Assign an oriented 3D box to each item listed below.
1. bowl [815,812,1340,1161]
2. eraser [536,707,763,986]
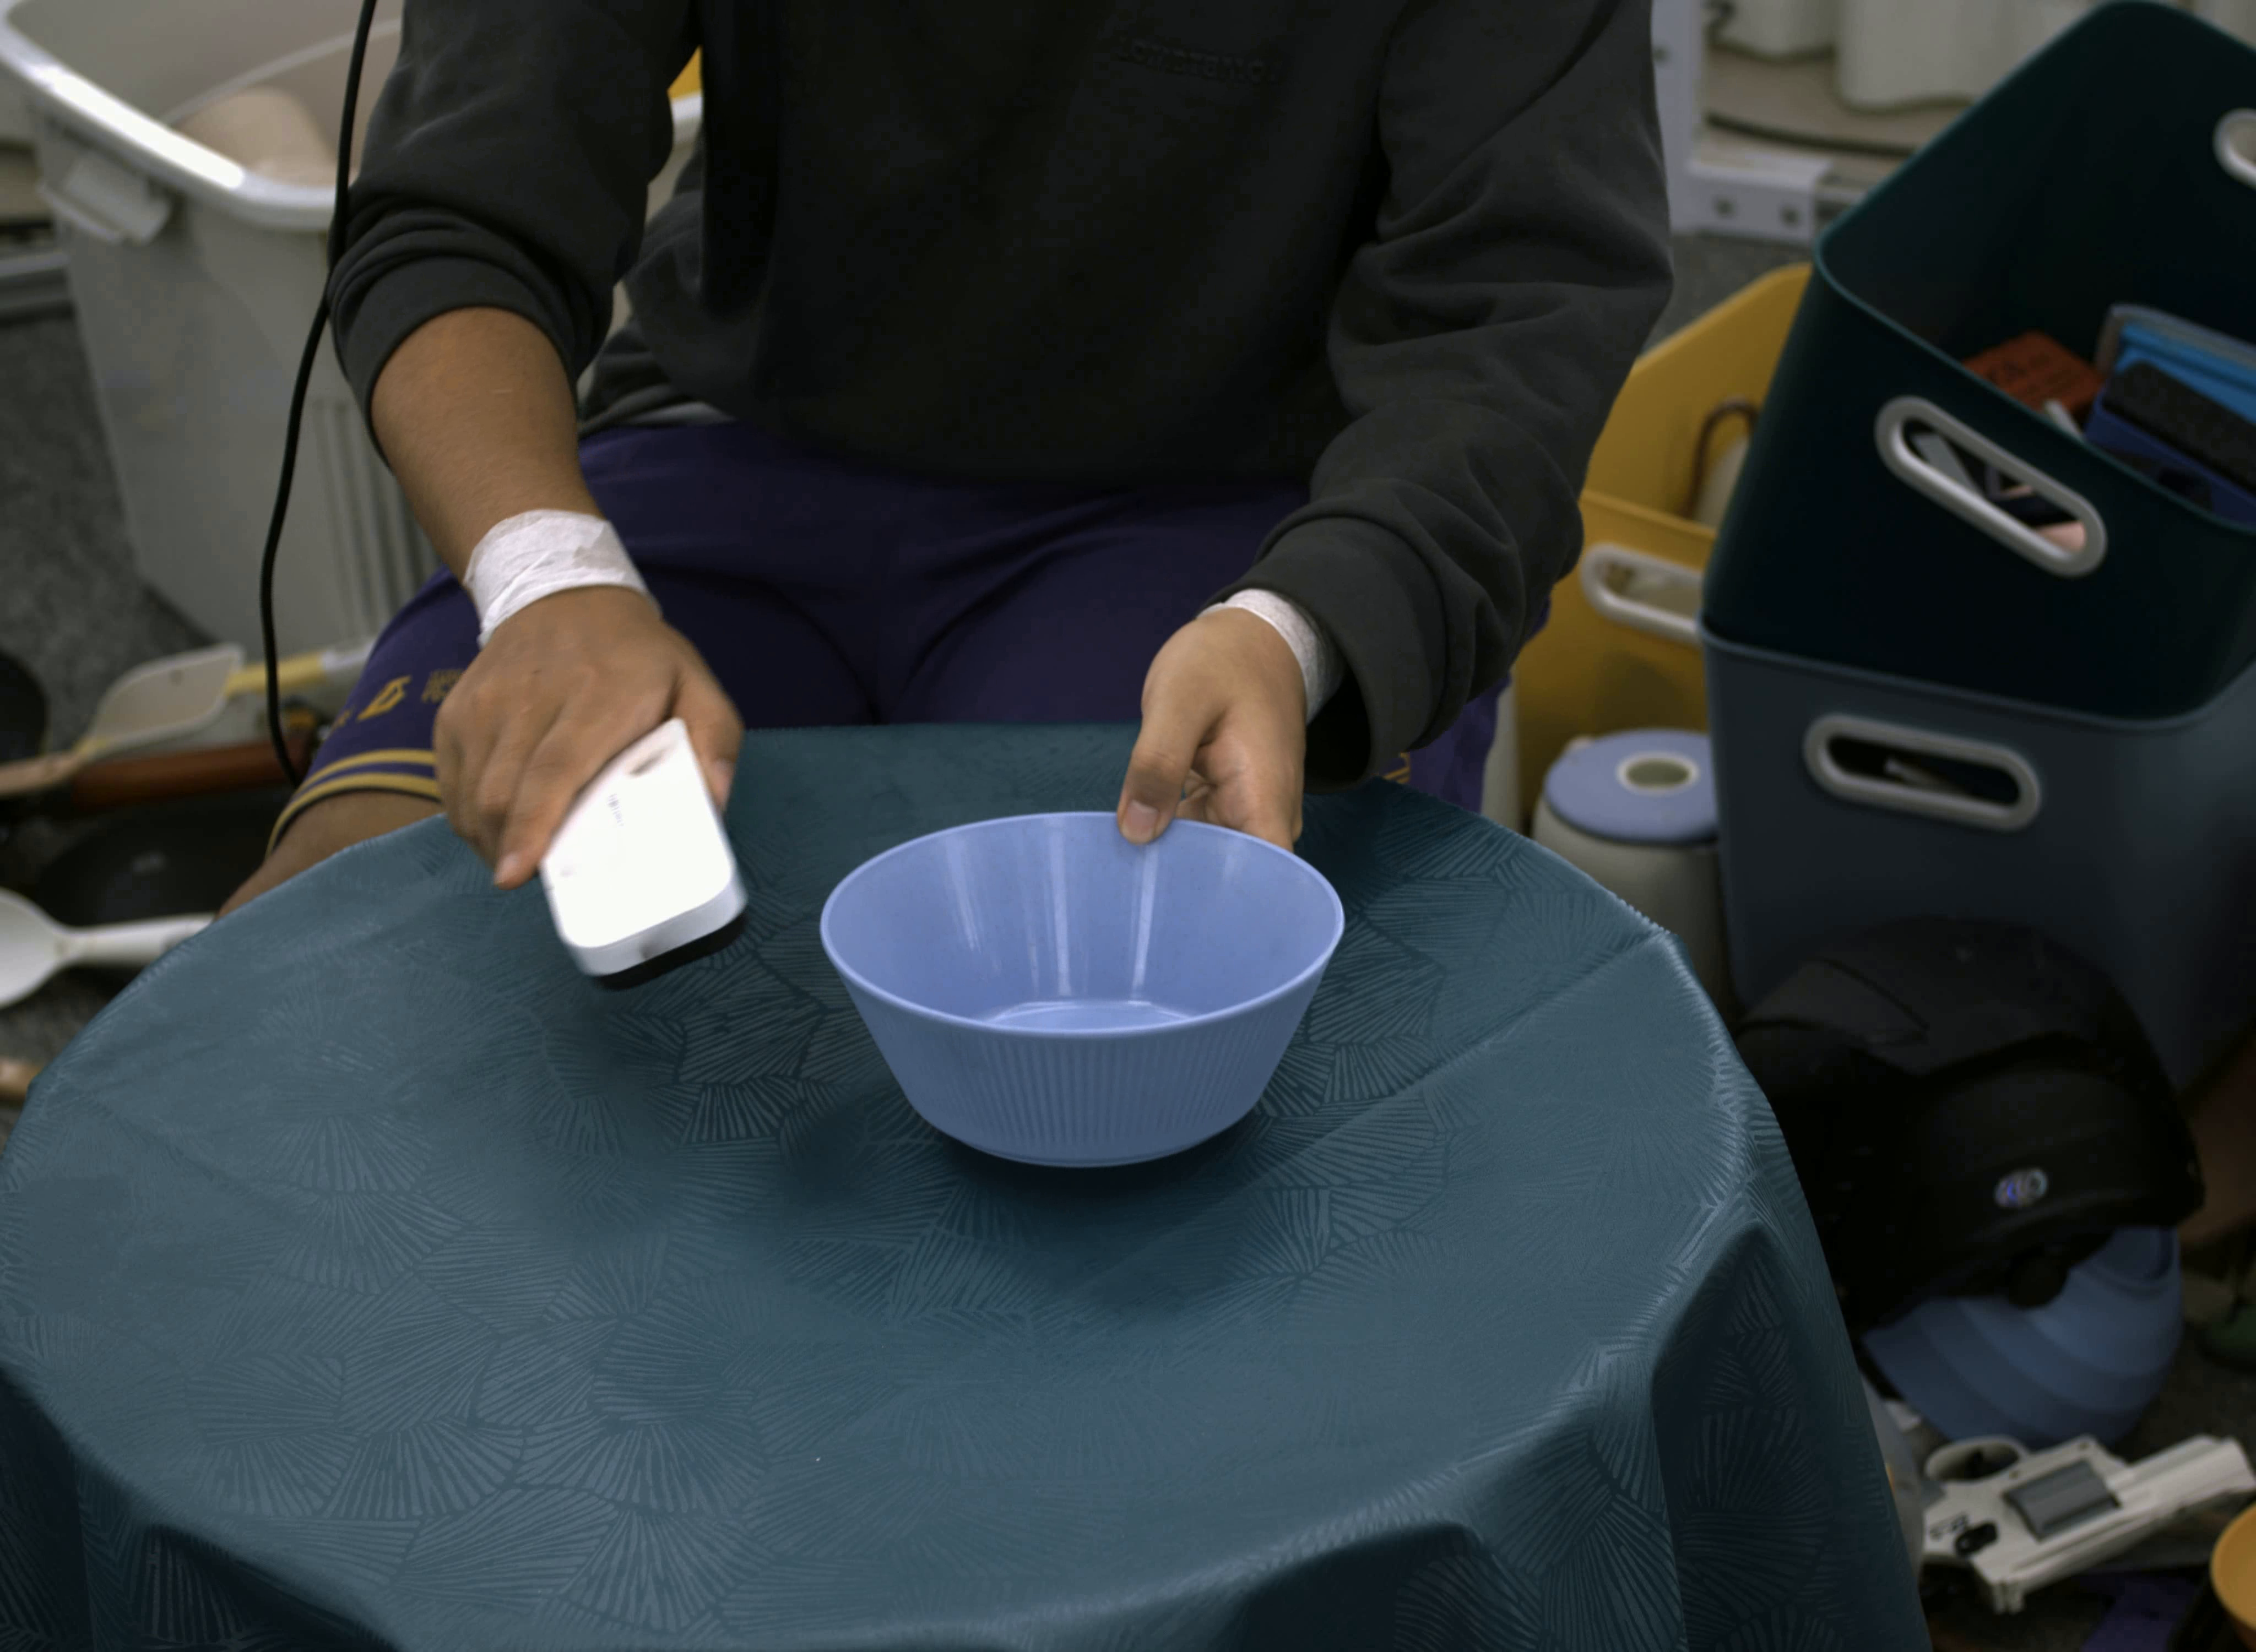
[{"bbox_3d":[-0.017,0.058,1.885,0.175,0.069,0.178,1,23,0],"label":"bowl"},{"bbox_3d":[-0.162,0.004,1.912,0.063,0.034,0.133,-22,33,-2],"label":"eraser"}]
